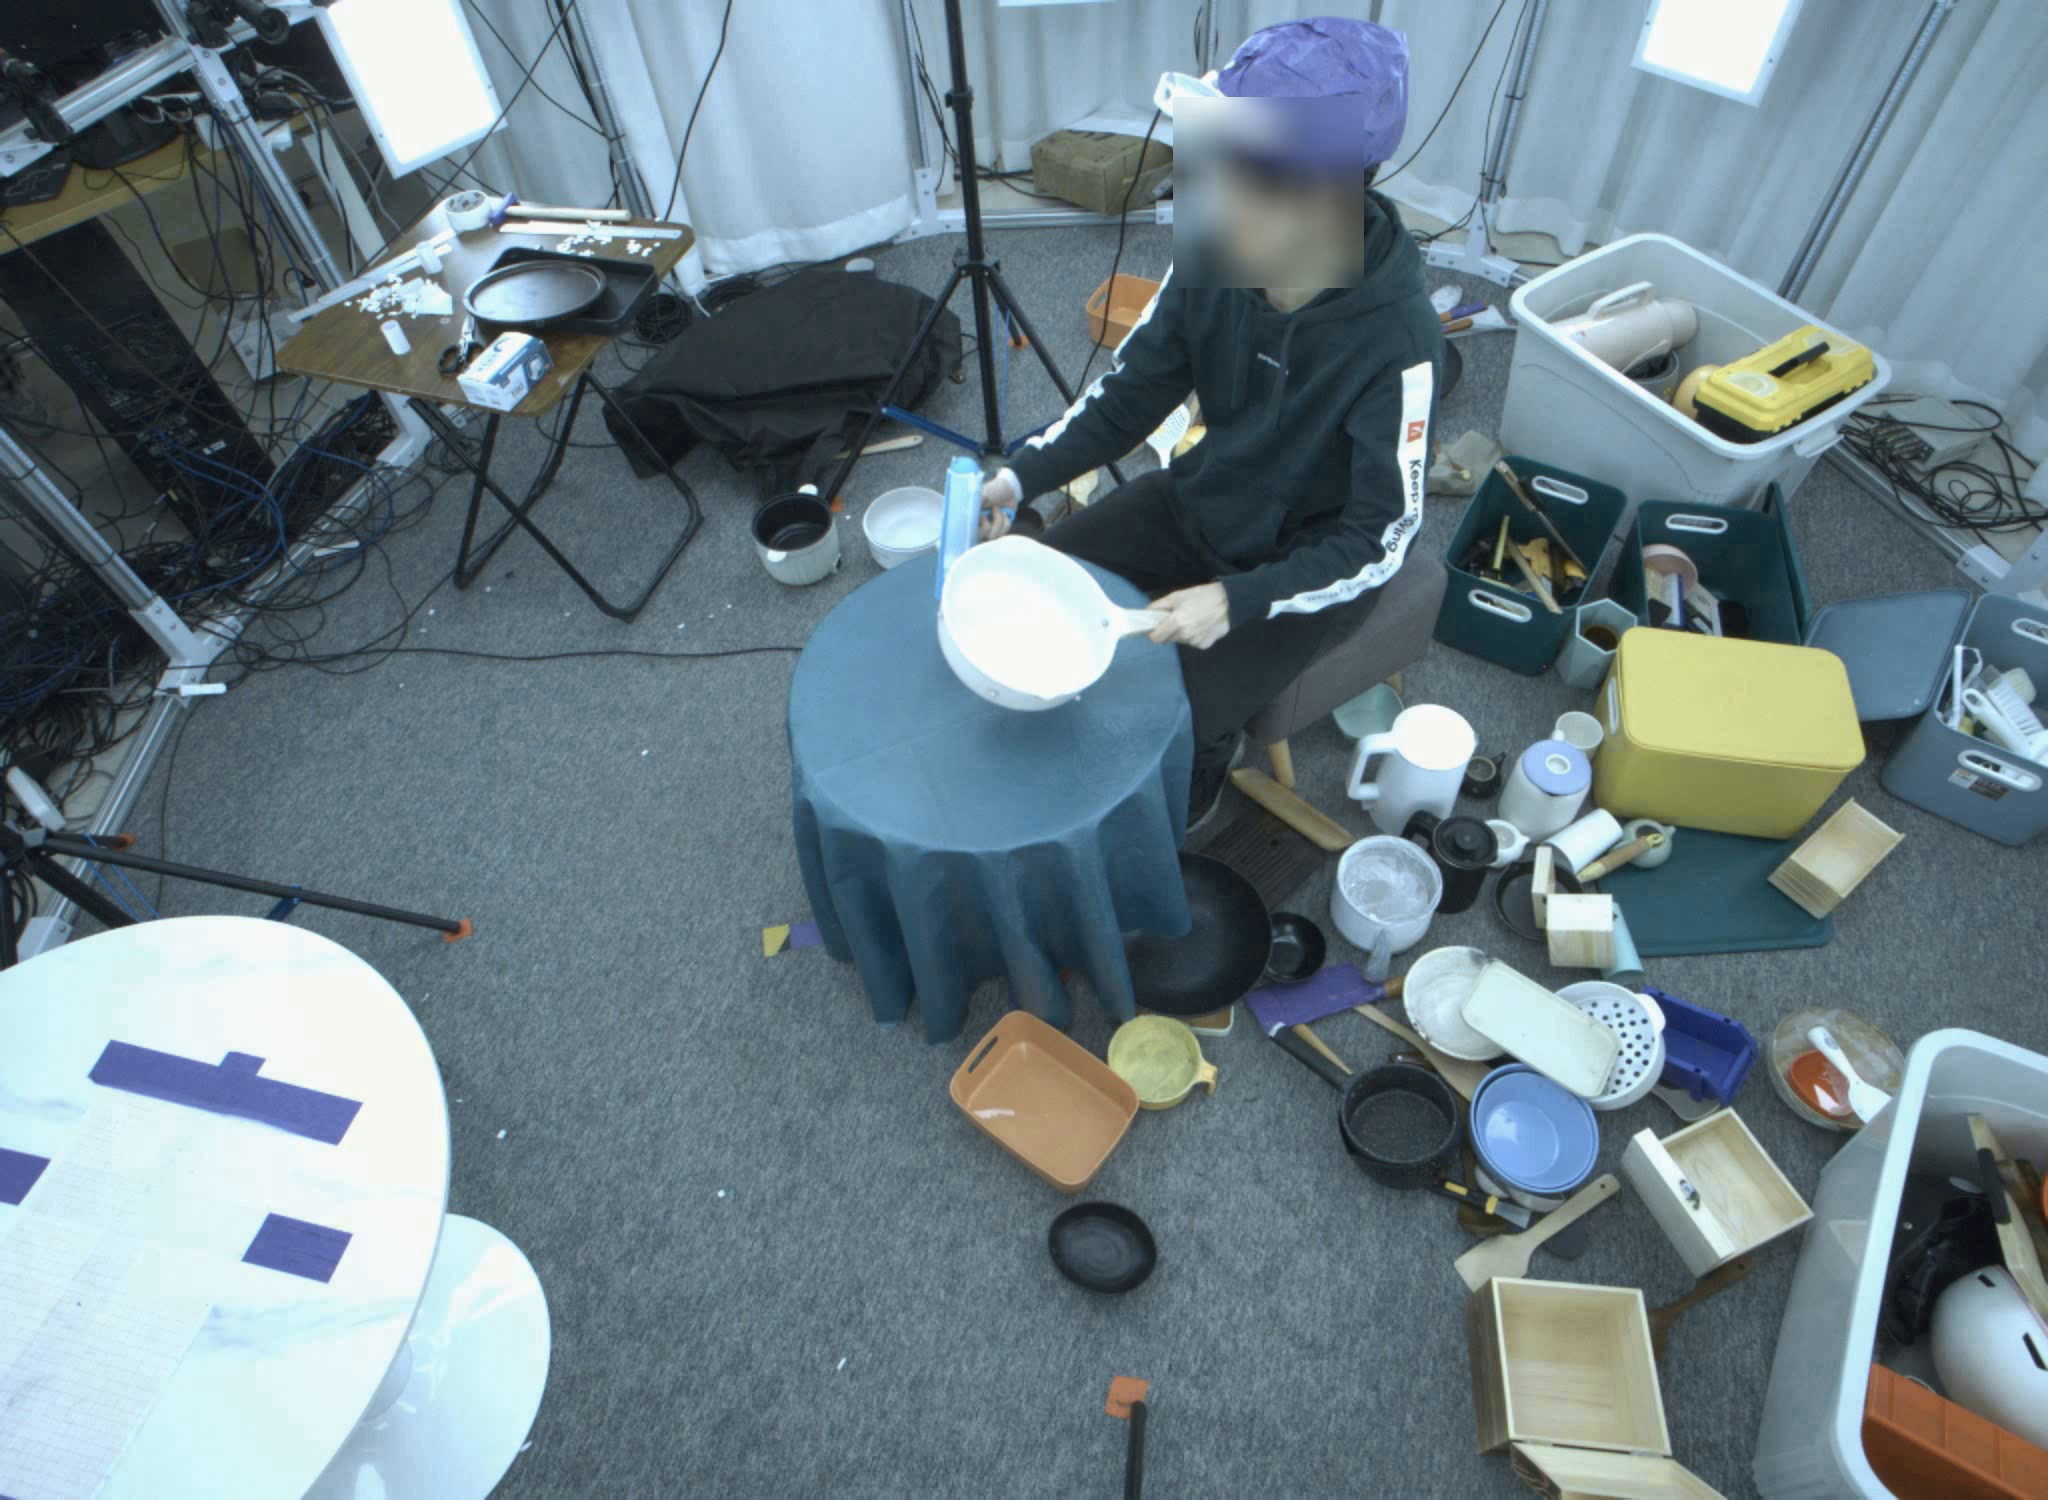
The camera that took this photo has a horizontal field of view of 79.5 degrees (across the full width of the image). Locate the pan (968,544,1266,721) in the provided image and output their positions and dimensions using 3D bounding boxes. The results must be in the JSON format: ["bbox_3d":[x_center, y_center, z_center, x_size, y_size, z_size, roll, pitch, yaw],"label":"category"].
[{"bbox_3d":[0.128,-0.154,1.719,0.442,0.101,0.260,1,63,-23],"label":"pan"}]

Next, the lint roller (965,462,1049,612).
[{"bbox_3d":[-0.028,-0.326,1.823,0.067,0.230,0.181,17,27,17],"label":"lint roller"}]
